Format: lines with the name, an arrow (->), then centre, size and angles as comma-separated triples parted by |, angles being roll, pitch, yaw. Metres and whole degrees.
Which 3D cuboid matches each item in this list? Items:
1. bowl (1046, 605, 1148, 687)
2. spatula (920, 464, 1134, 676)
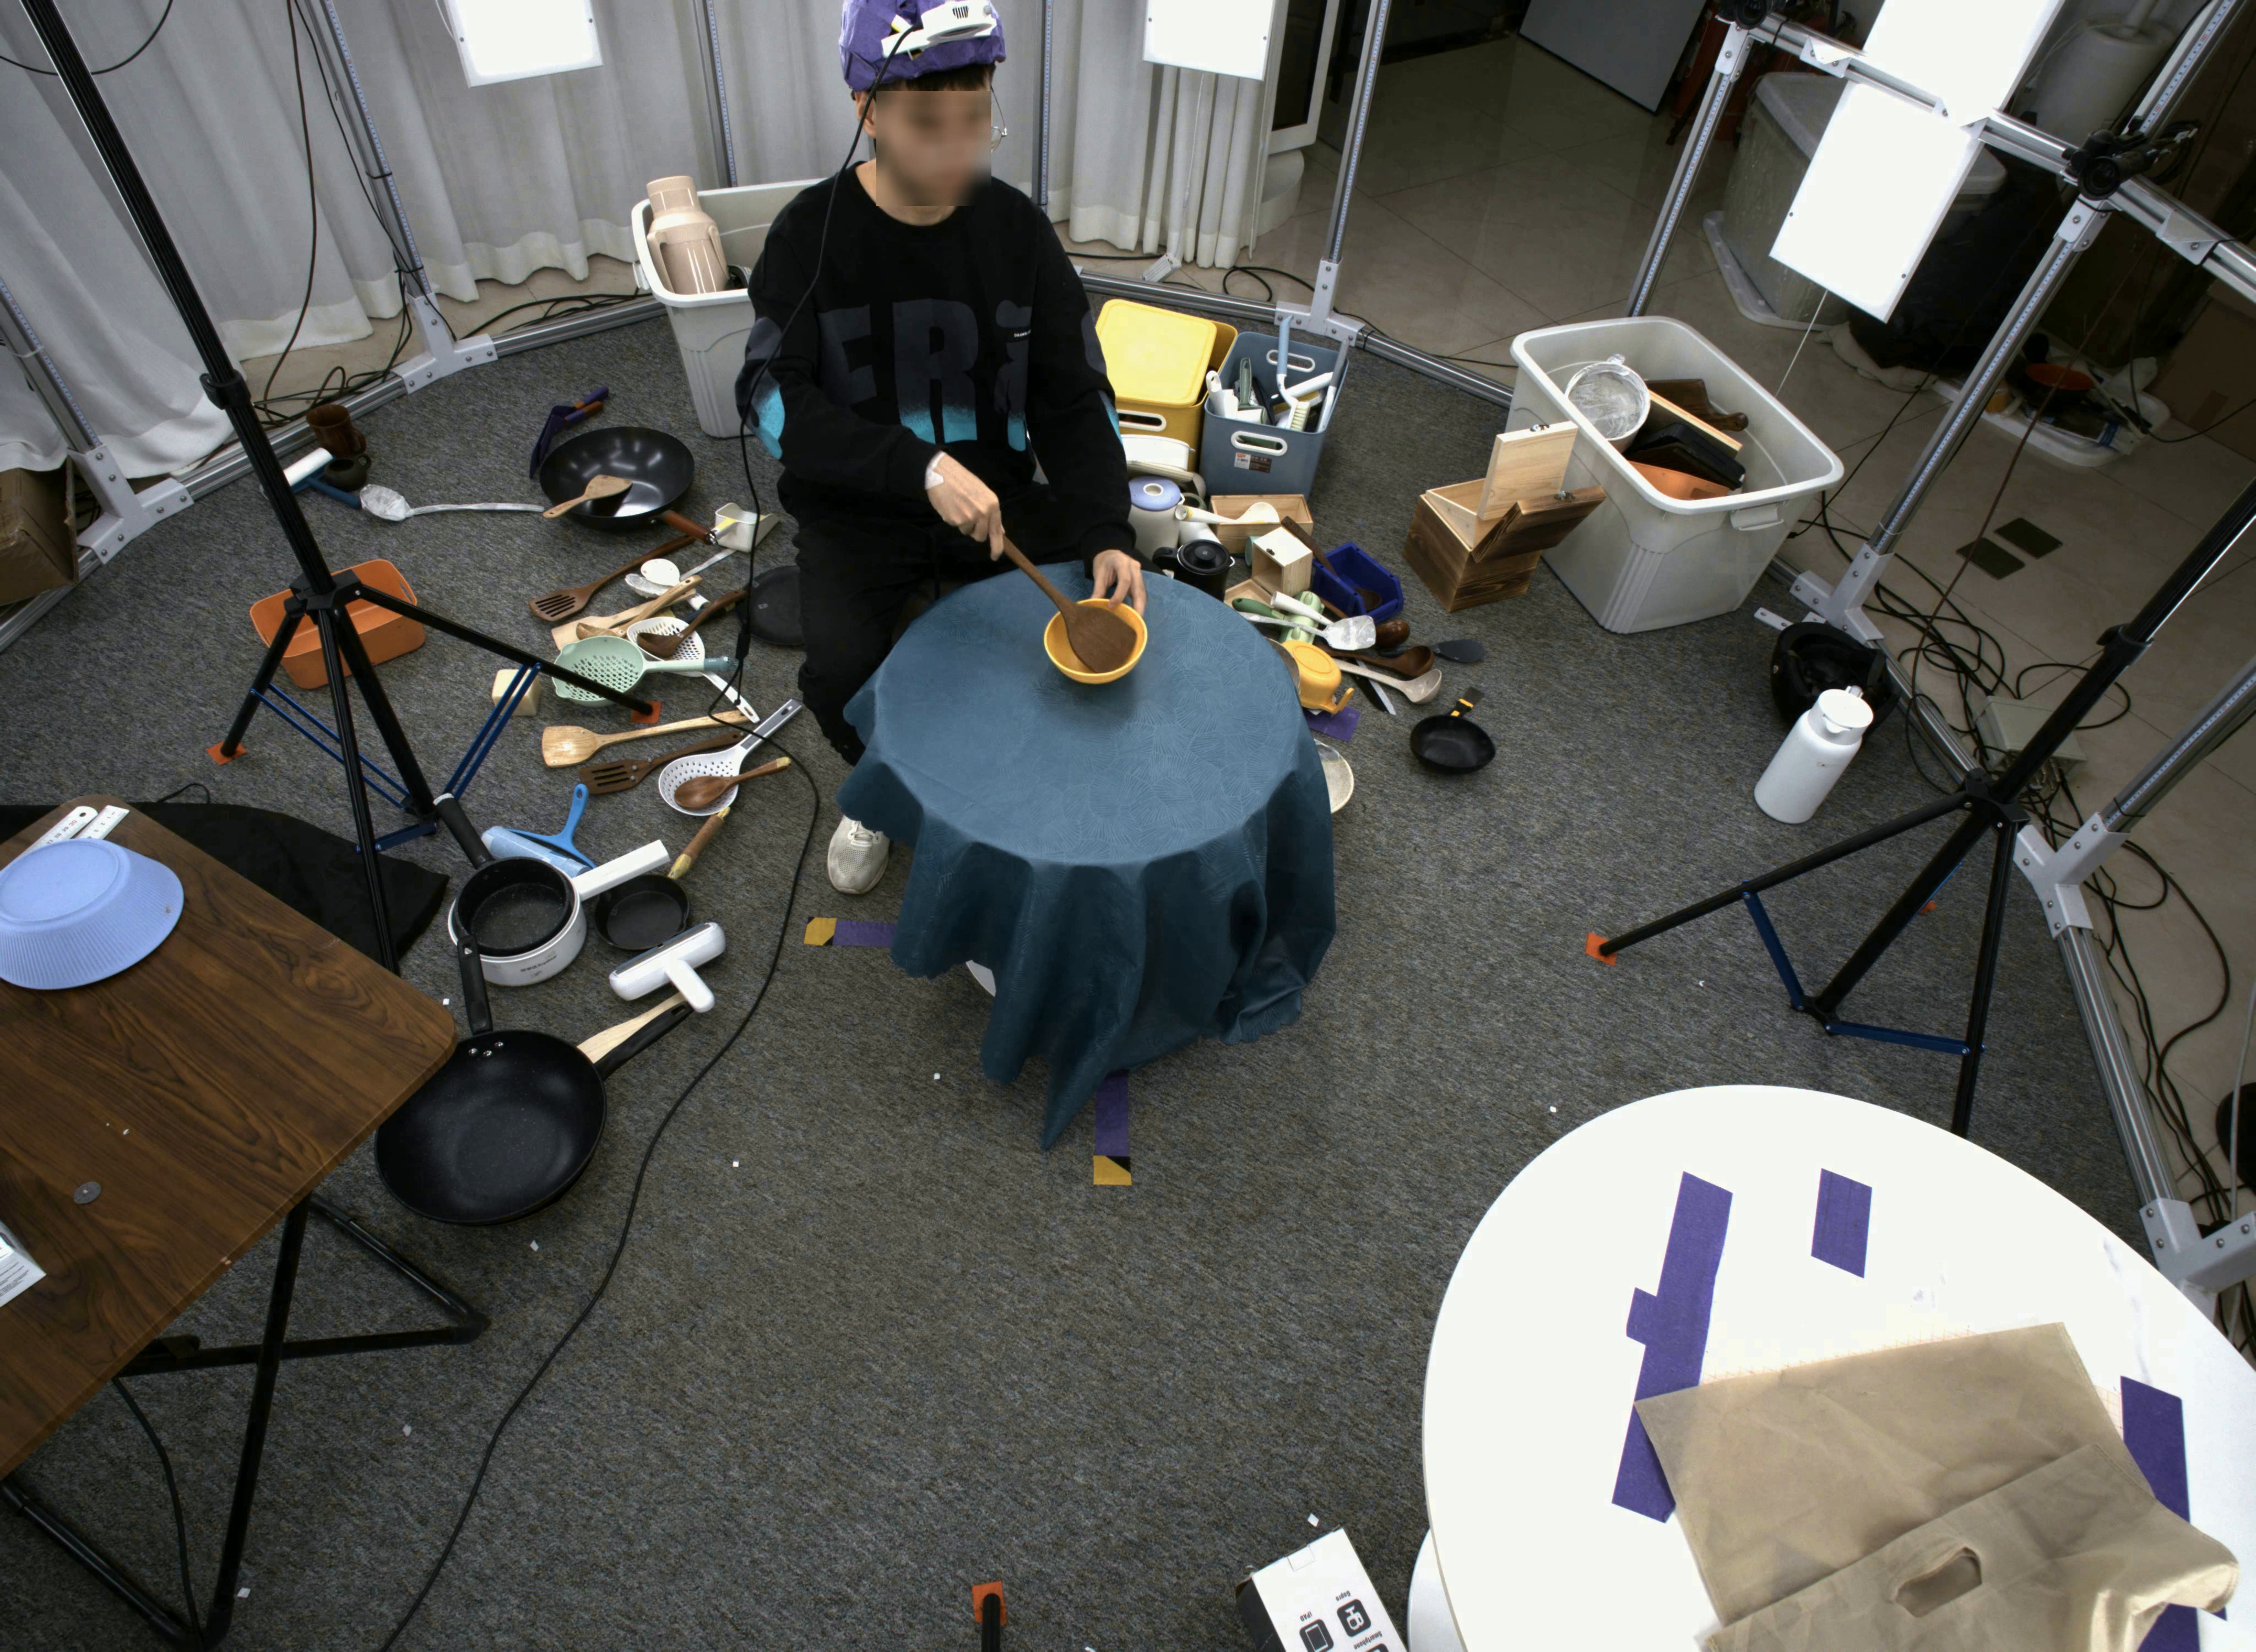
bowl -> -0.044, -0.247, 1.845 | 0.145, 0.058, 0.149 | -1, 52, 1
spatula -> -0.143, -0.363, 1.805 | 0.382, 0.016, 0.097 | 43, 64, -13
